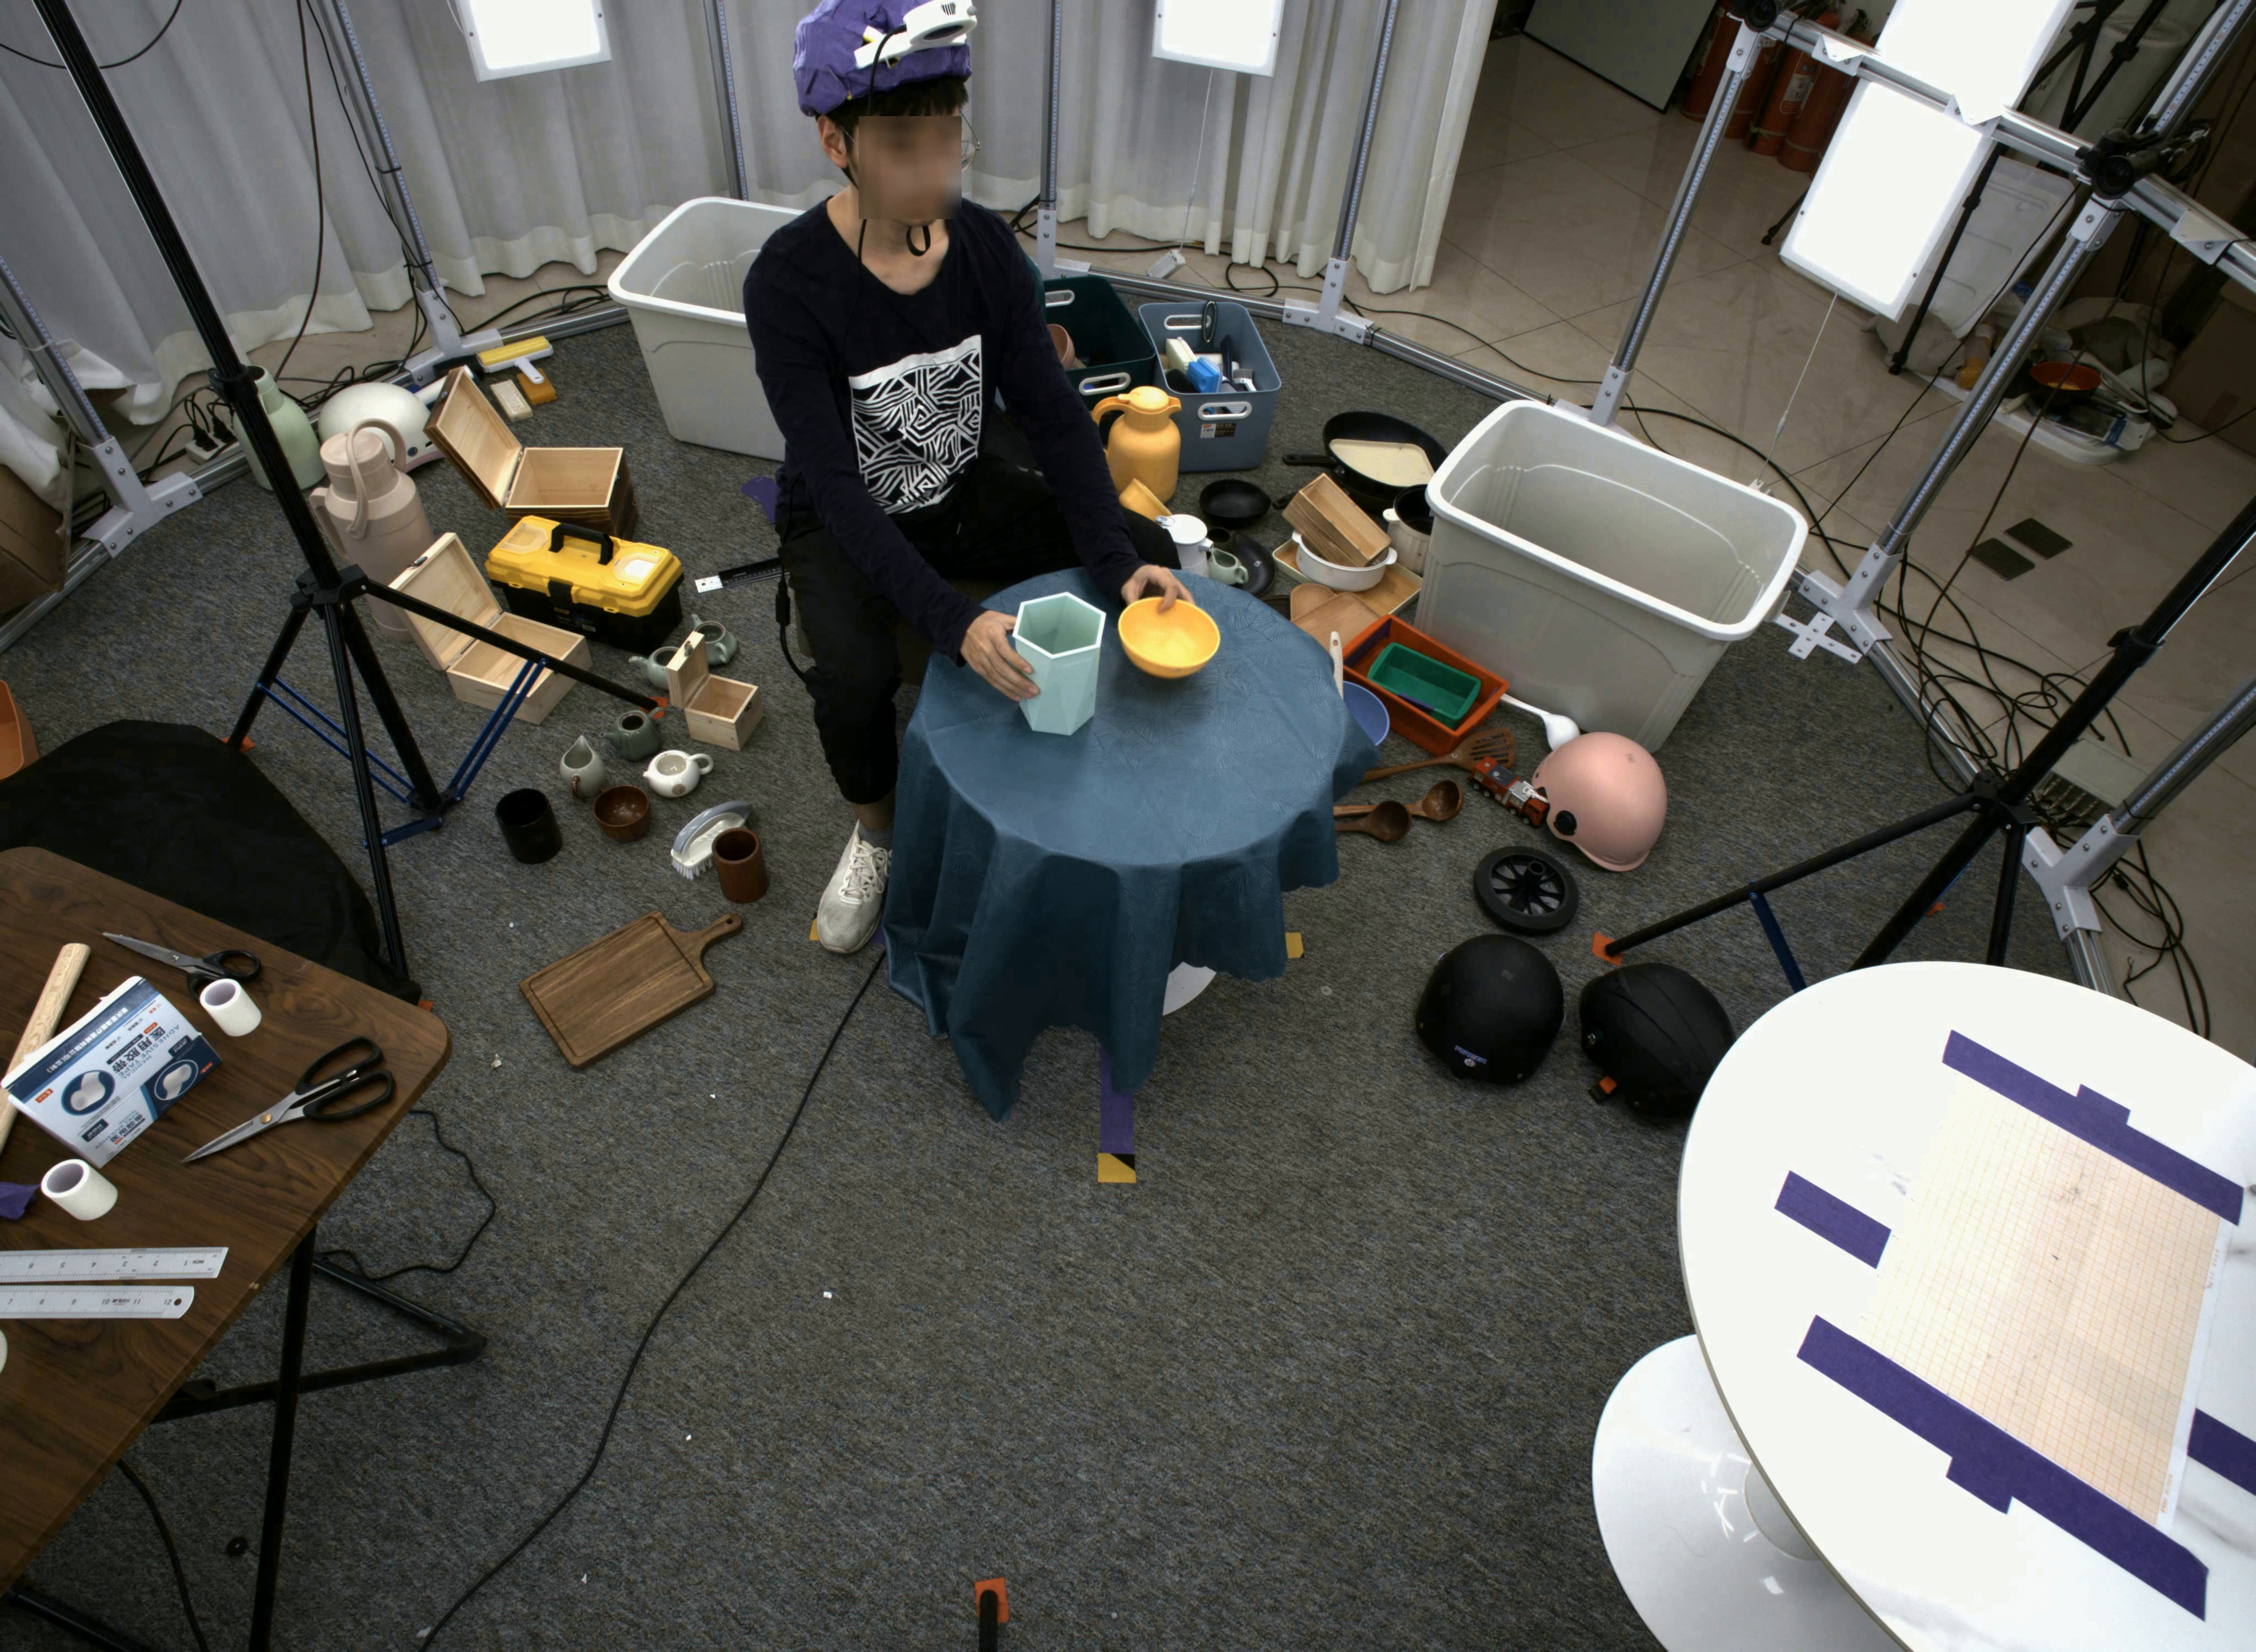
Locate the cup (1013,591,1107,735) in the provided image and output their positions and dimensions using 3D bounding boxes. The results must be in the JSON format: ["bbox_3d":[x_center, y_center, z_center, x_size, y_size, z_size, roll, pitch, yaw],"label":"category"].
[{"bbox_3d":[-0.093,-0.215,1.742,0.131,0.159,0.118,-16,51,-18],"label":"cup"}]

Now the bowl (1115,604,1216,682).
[{"bbox_3d":[0.050,-0.250,1.834,0.145,0.059,0.149,5,46,-5],"label":"bowl"}]
